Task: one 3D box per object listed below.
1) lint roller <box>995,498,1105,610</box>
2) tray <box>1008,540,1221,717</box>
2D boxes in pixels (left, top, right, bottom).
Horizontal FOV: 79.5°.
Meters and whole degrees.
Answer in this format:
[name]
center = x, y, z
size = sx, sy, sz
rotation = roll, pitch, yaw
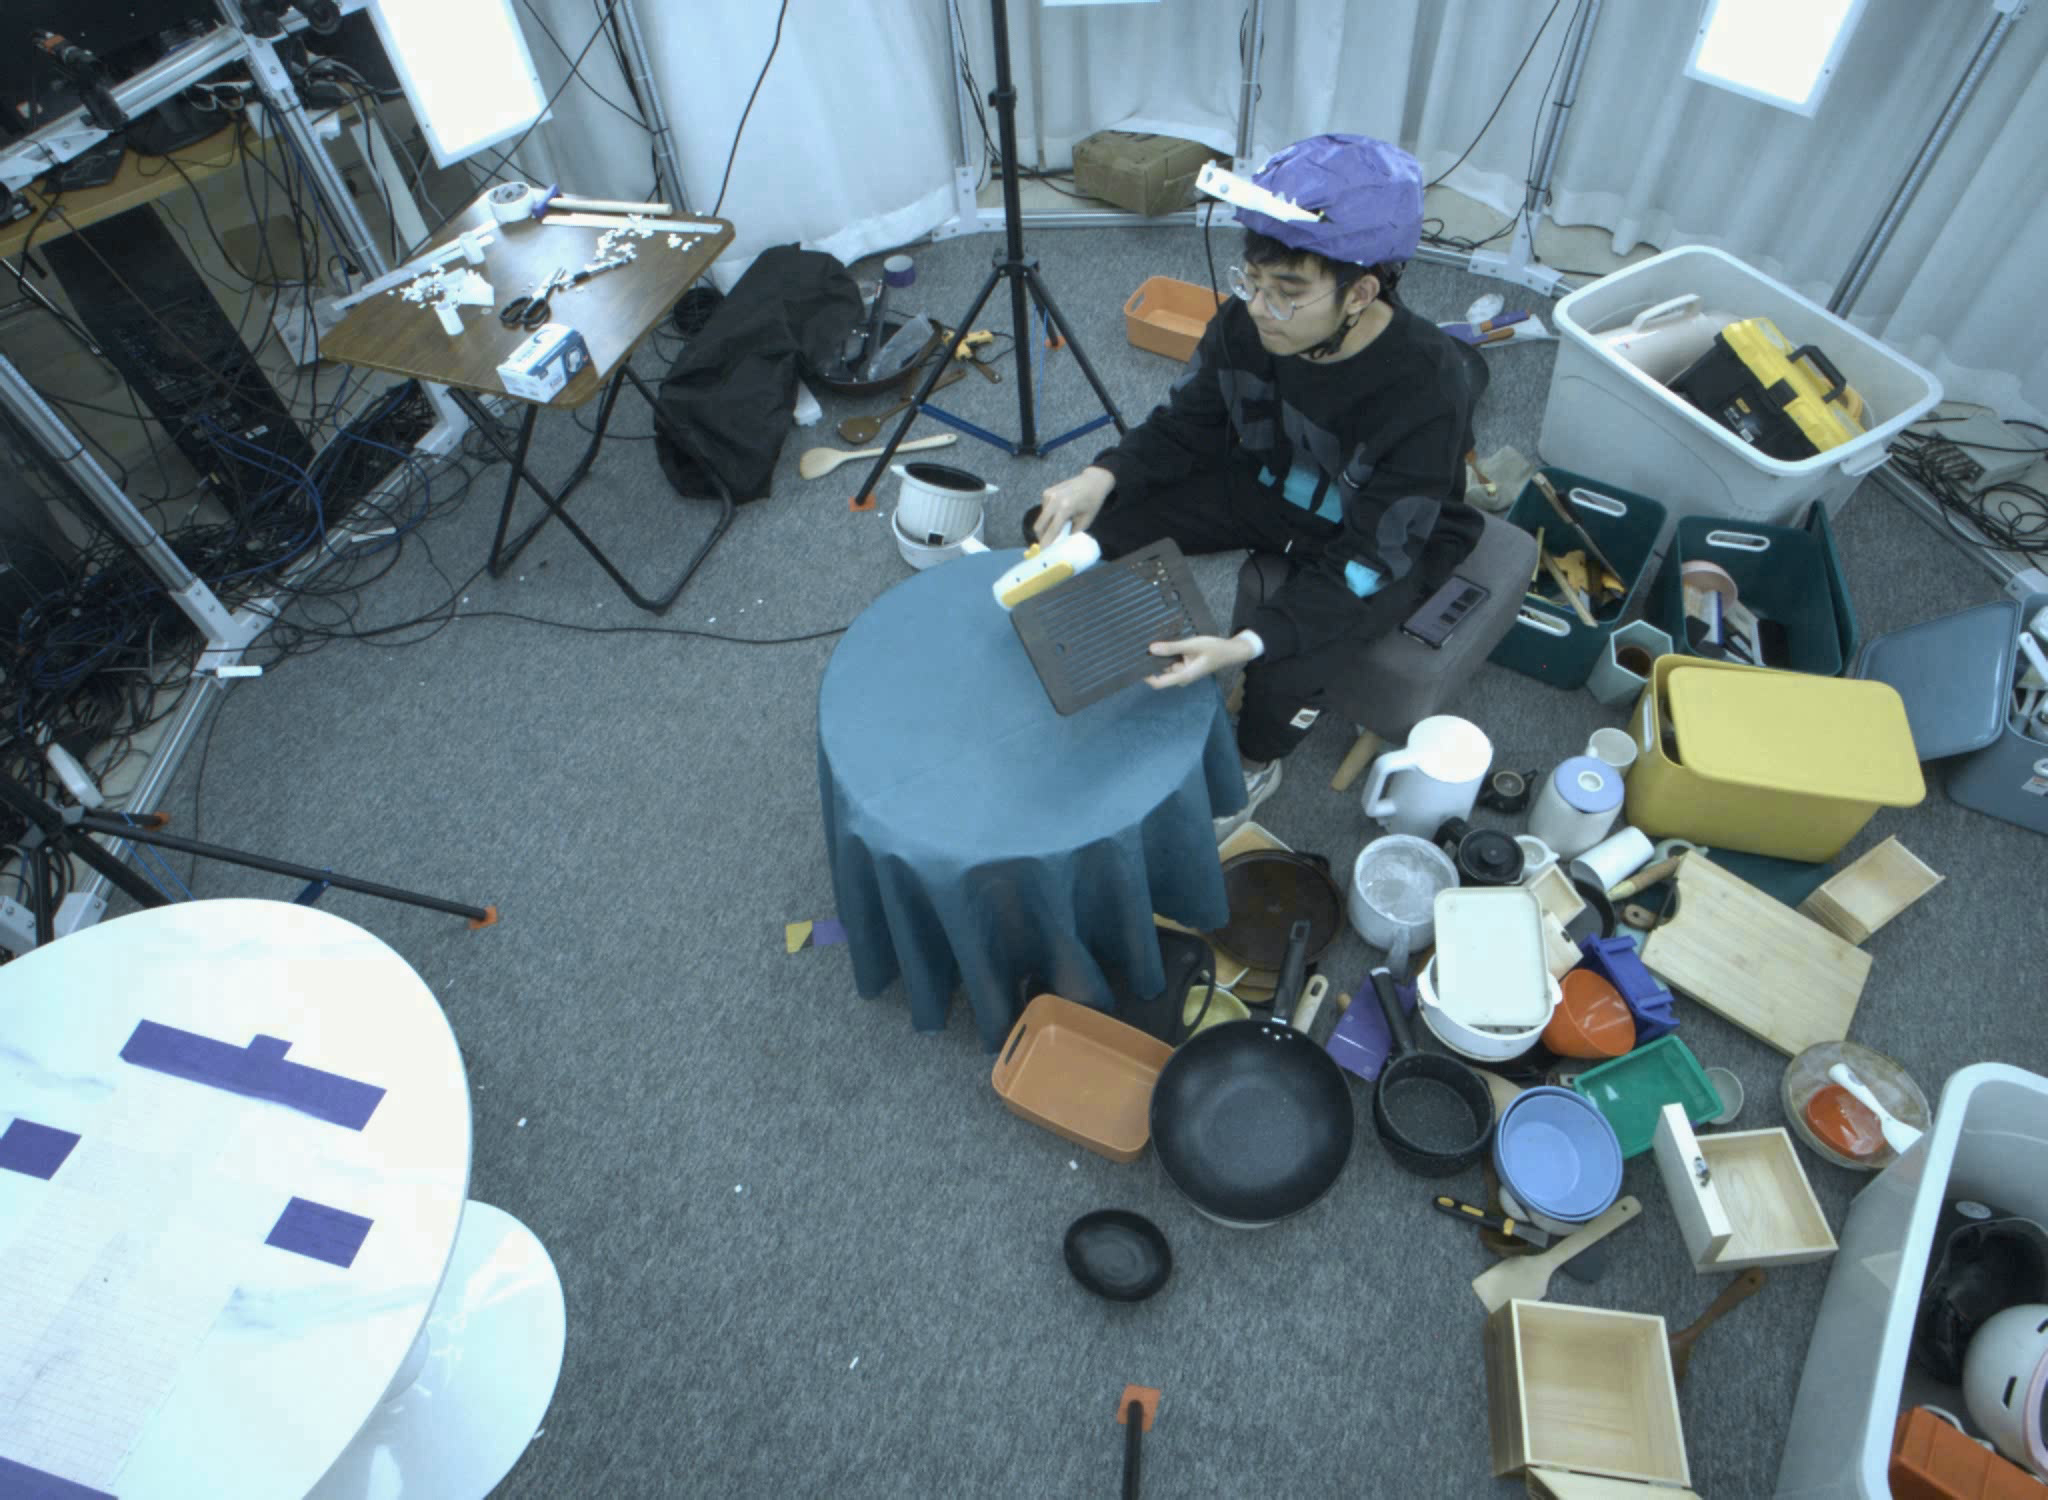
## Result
[lint roller]
center = 0.048, -0.309, 1.846
size = 0.075, 0.190, 0.192
rotation = 43, 42, -18
[tray]
center = 0.132, -0.176, 1.742
size = 0.310, 0.018, 0.170
rotation = -27, 92, -28
